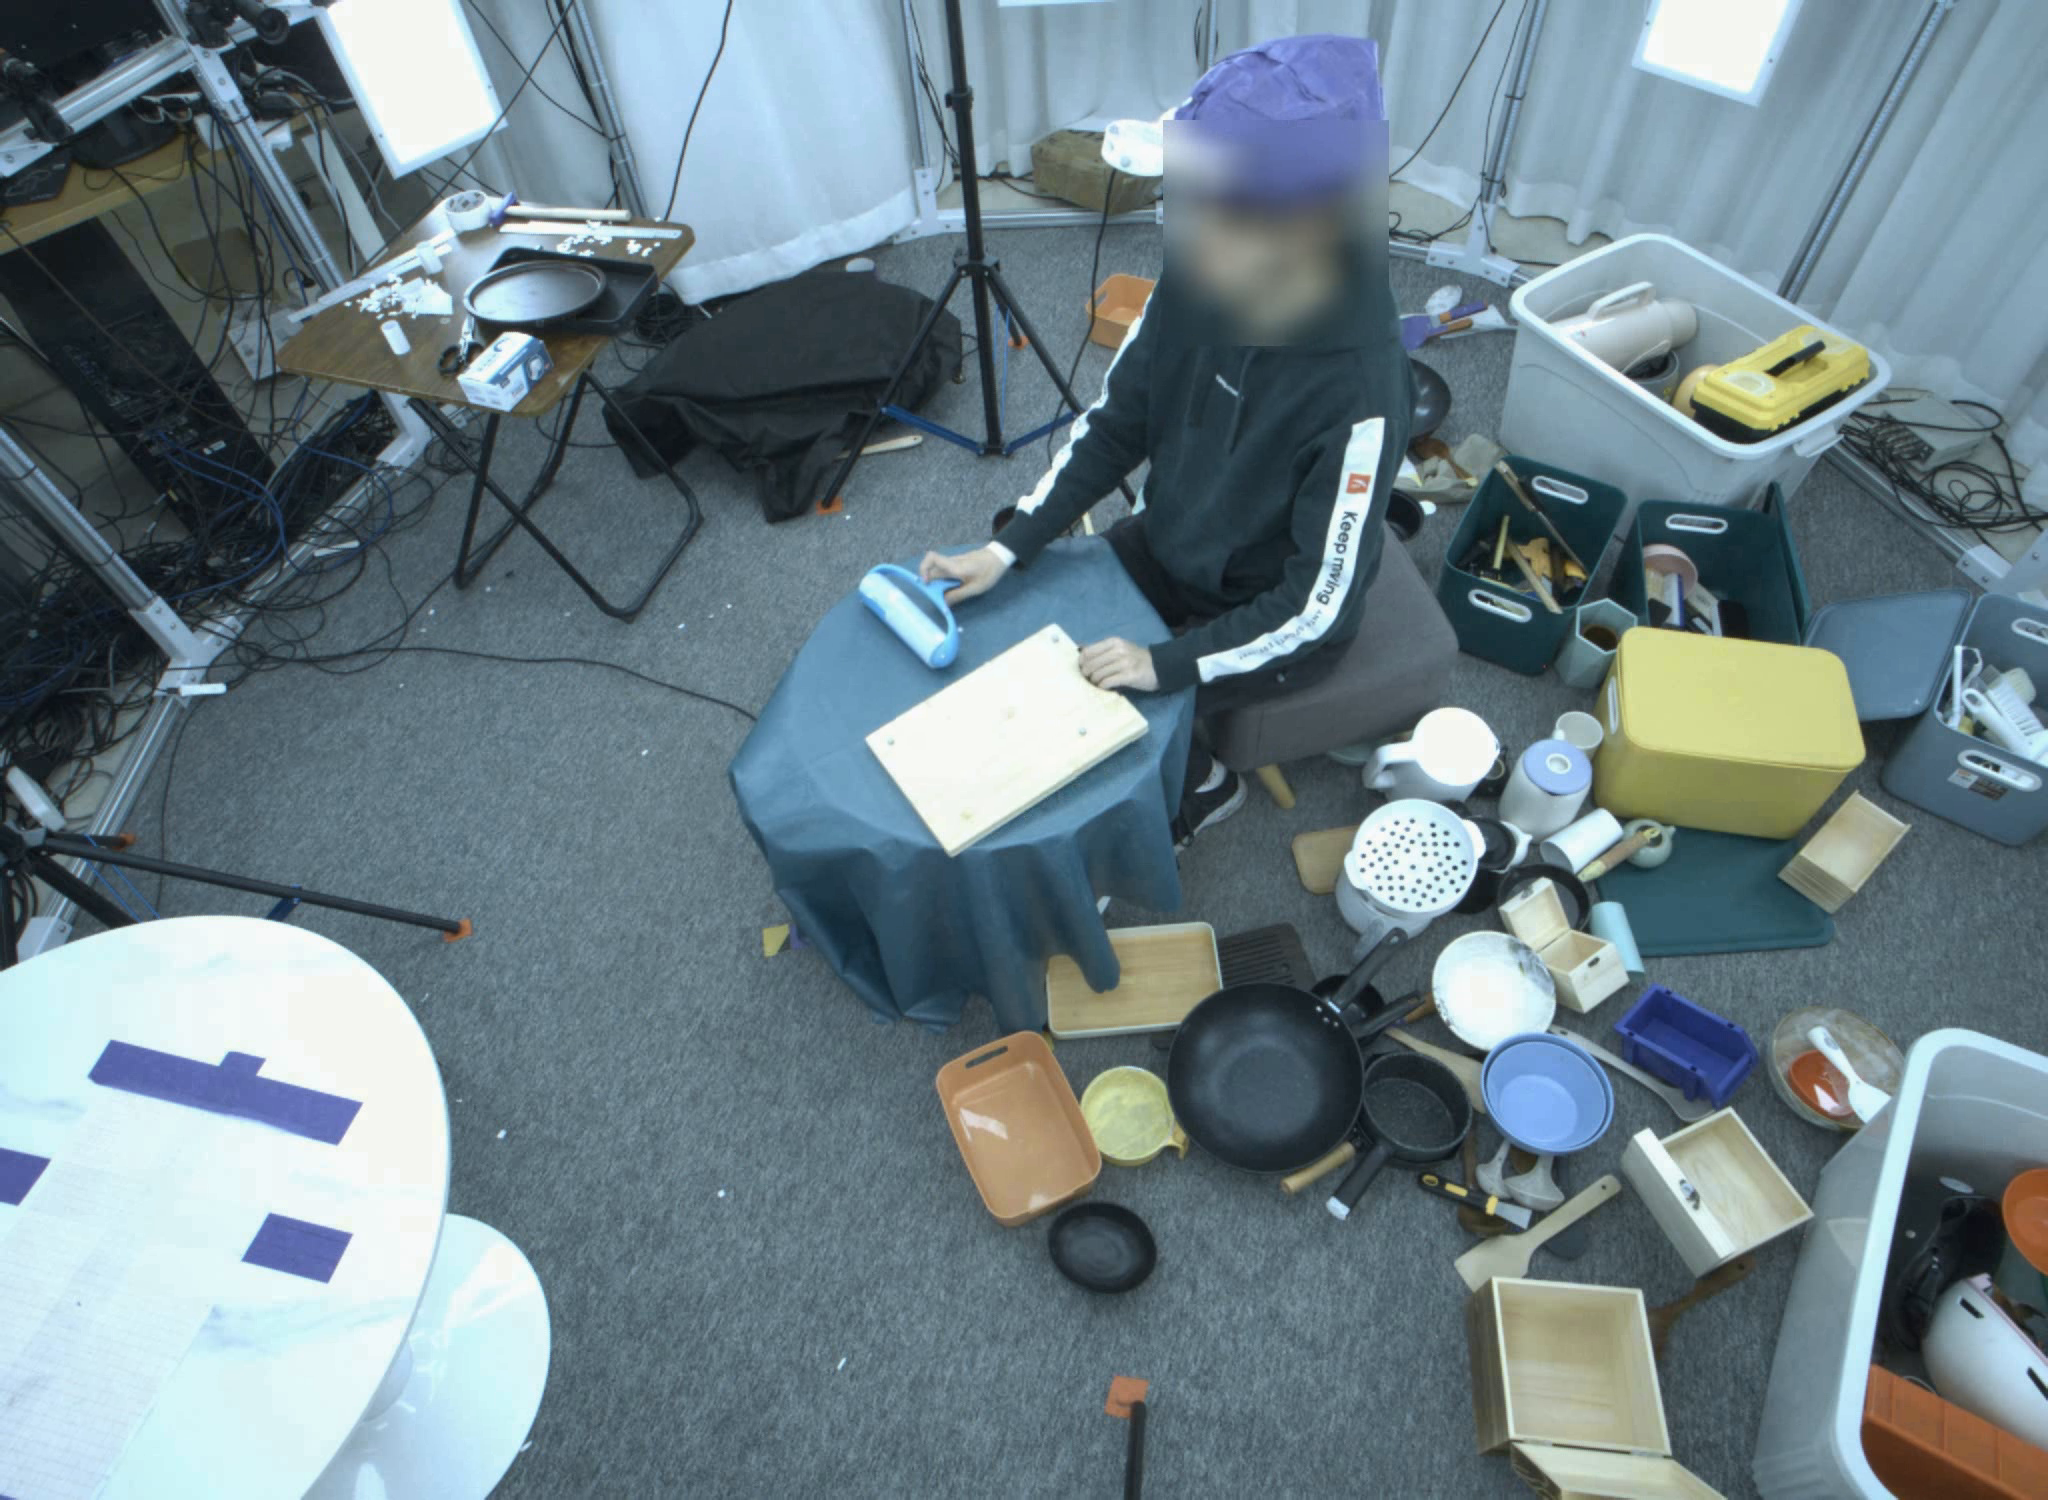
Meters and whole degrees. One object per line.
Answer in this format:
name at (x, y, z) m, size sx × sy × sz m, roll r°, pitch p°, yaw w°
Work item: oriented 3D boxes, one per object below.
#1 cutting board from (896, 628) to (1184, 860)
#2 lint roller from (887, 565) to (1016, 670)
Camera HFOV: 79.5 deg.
cutting board at (0.018, -0.017, 1.771) m, size 0.351 × 0.024 × 0.246 m, roll -31°, pitch 59°, yaw -14°
lint roller at (-0.092, -0.234, 1.917) m, size 0.181 × 0.069 × 0.224 m, roll -36°, pitch 60°, yaw -20°
